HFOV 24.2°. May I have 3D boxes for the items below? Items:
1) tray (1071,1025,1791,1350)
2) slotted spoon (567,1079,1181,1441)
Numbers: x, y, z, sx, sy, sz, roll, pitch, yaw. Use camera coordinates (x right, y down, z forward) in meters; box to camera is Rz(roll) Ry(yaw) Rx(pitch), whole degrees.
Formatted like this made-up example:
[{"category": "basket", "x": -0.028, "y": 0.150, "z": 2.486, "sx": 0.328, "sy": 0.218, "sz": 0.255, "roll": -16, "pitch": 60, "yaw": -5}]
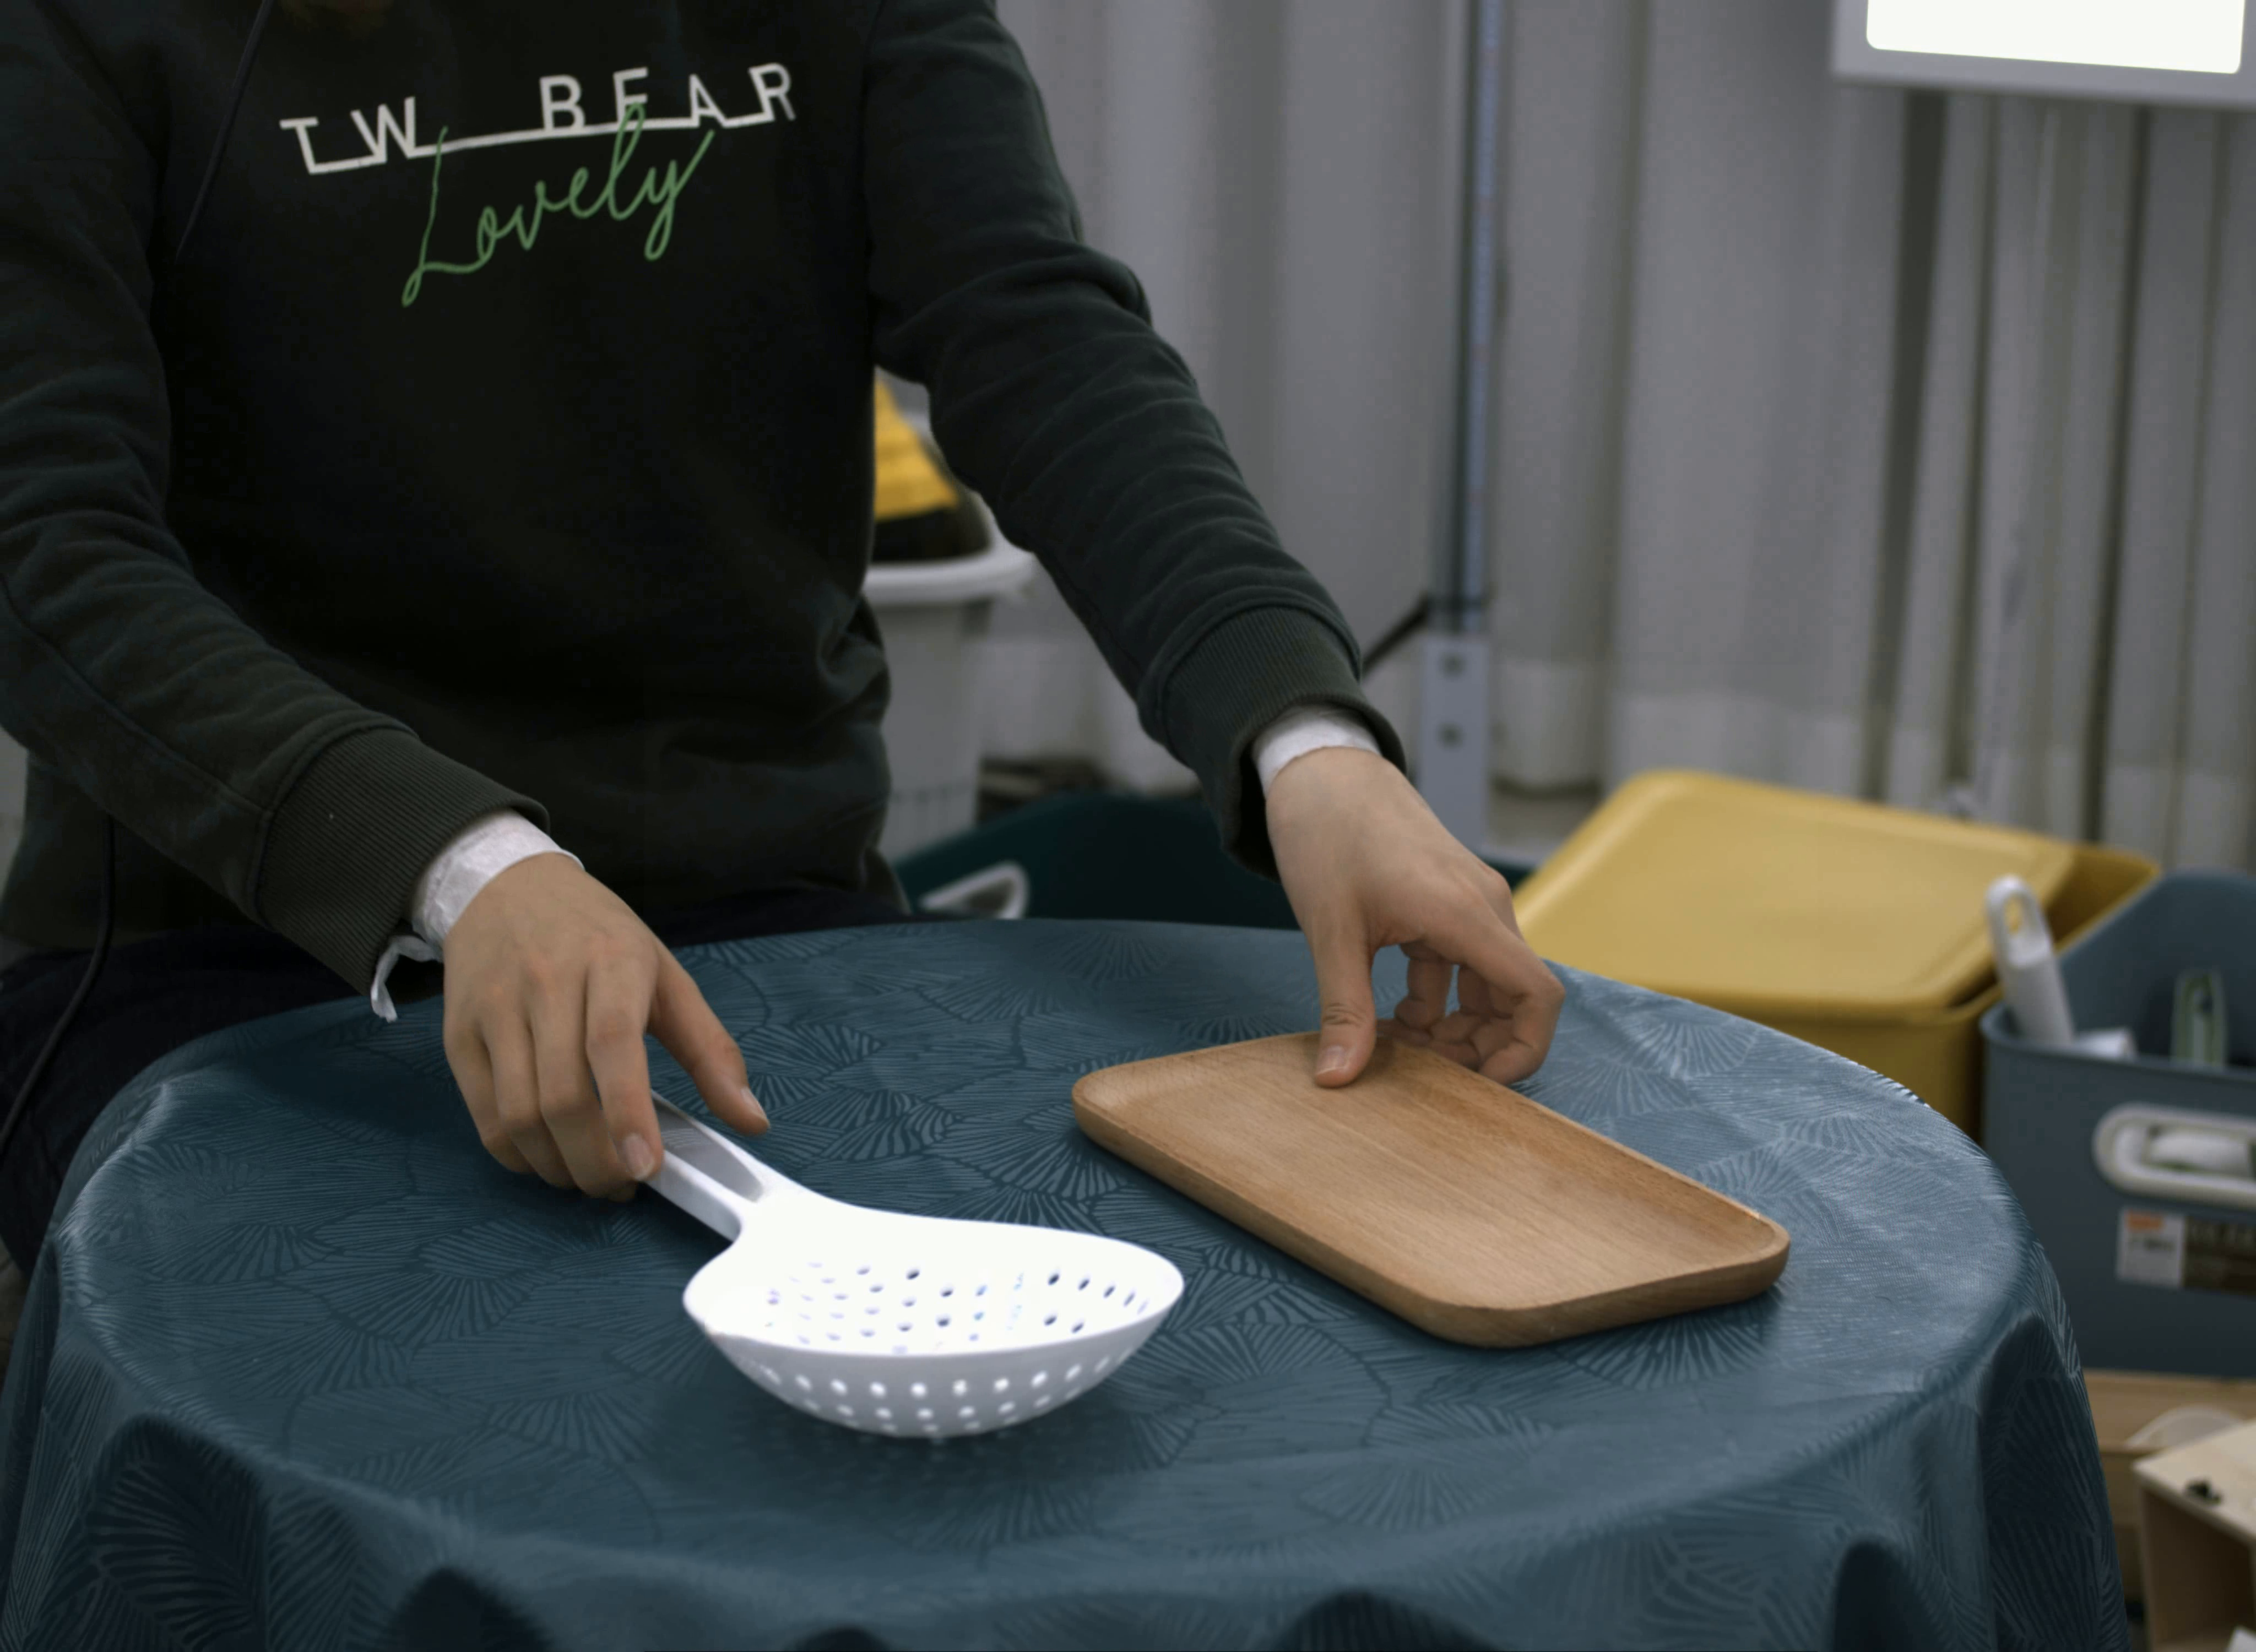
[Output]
[{"category": "tray", "x": 0.088, "y": 0.108, "z": 1.616, "sx": 0.131, "sy": 0.023, "sz": 0.247, "roll": -6, "pitch": 16, "yaw": -29}, {"category": "slotted spoon", "x": -0.098, "y": 0.116, "z": 1.526, "sx": 0.136, "sy": 0.046, "sz": 0.345, "roll": -4, "pitch": 16, "yaw": -24}]
